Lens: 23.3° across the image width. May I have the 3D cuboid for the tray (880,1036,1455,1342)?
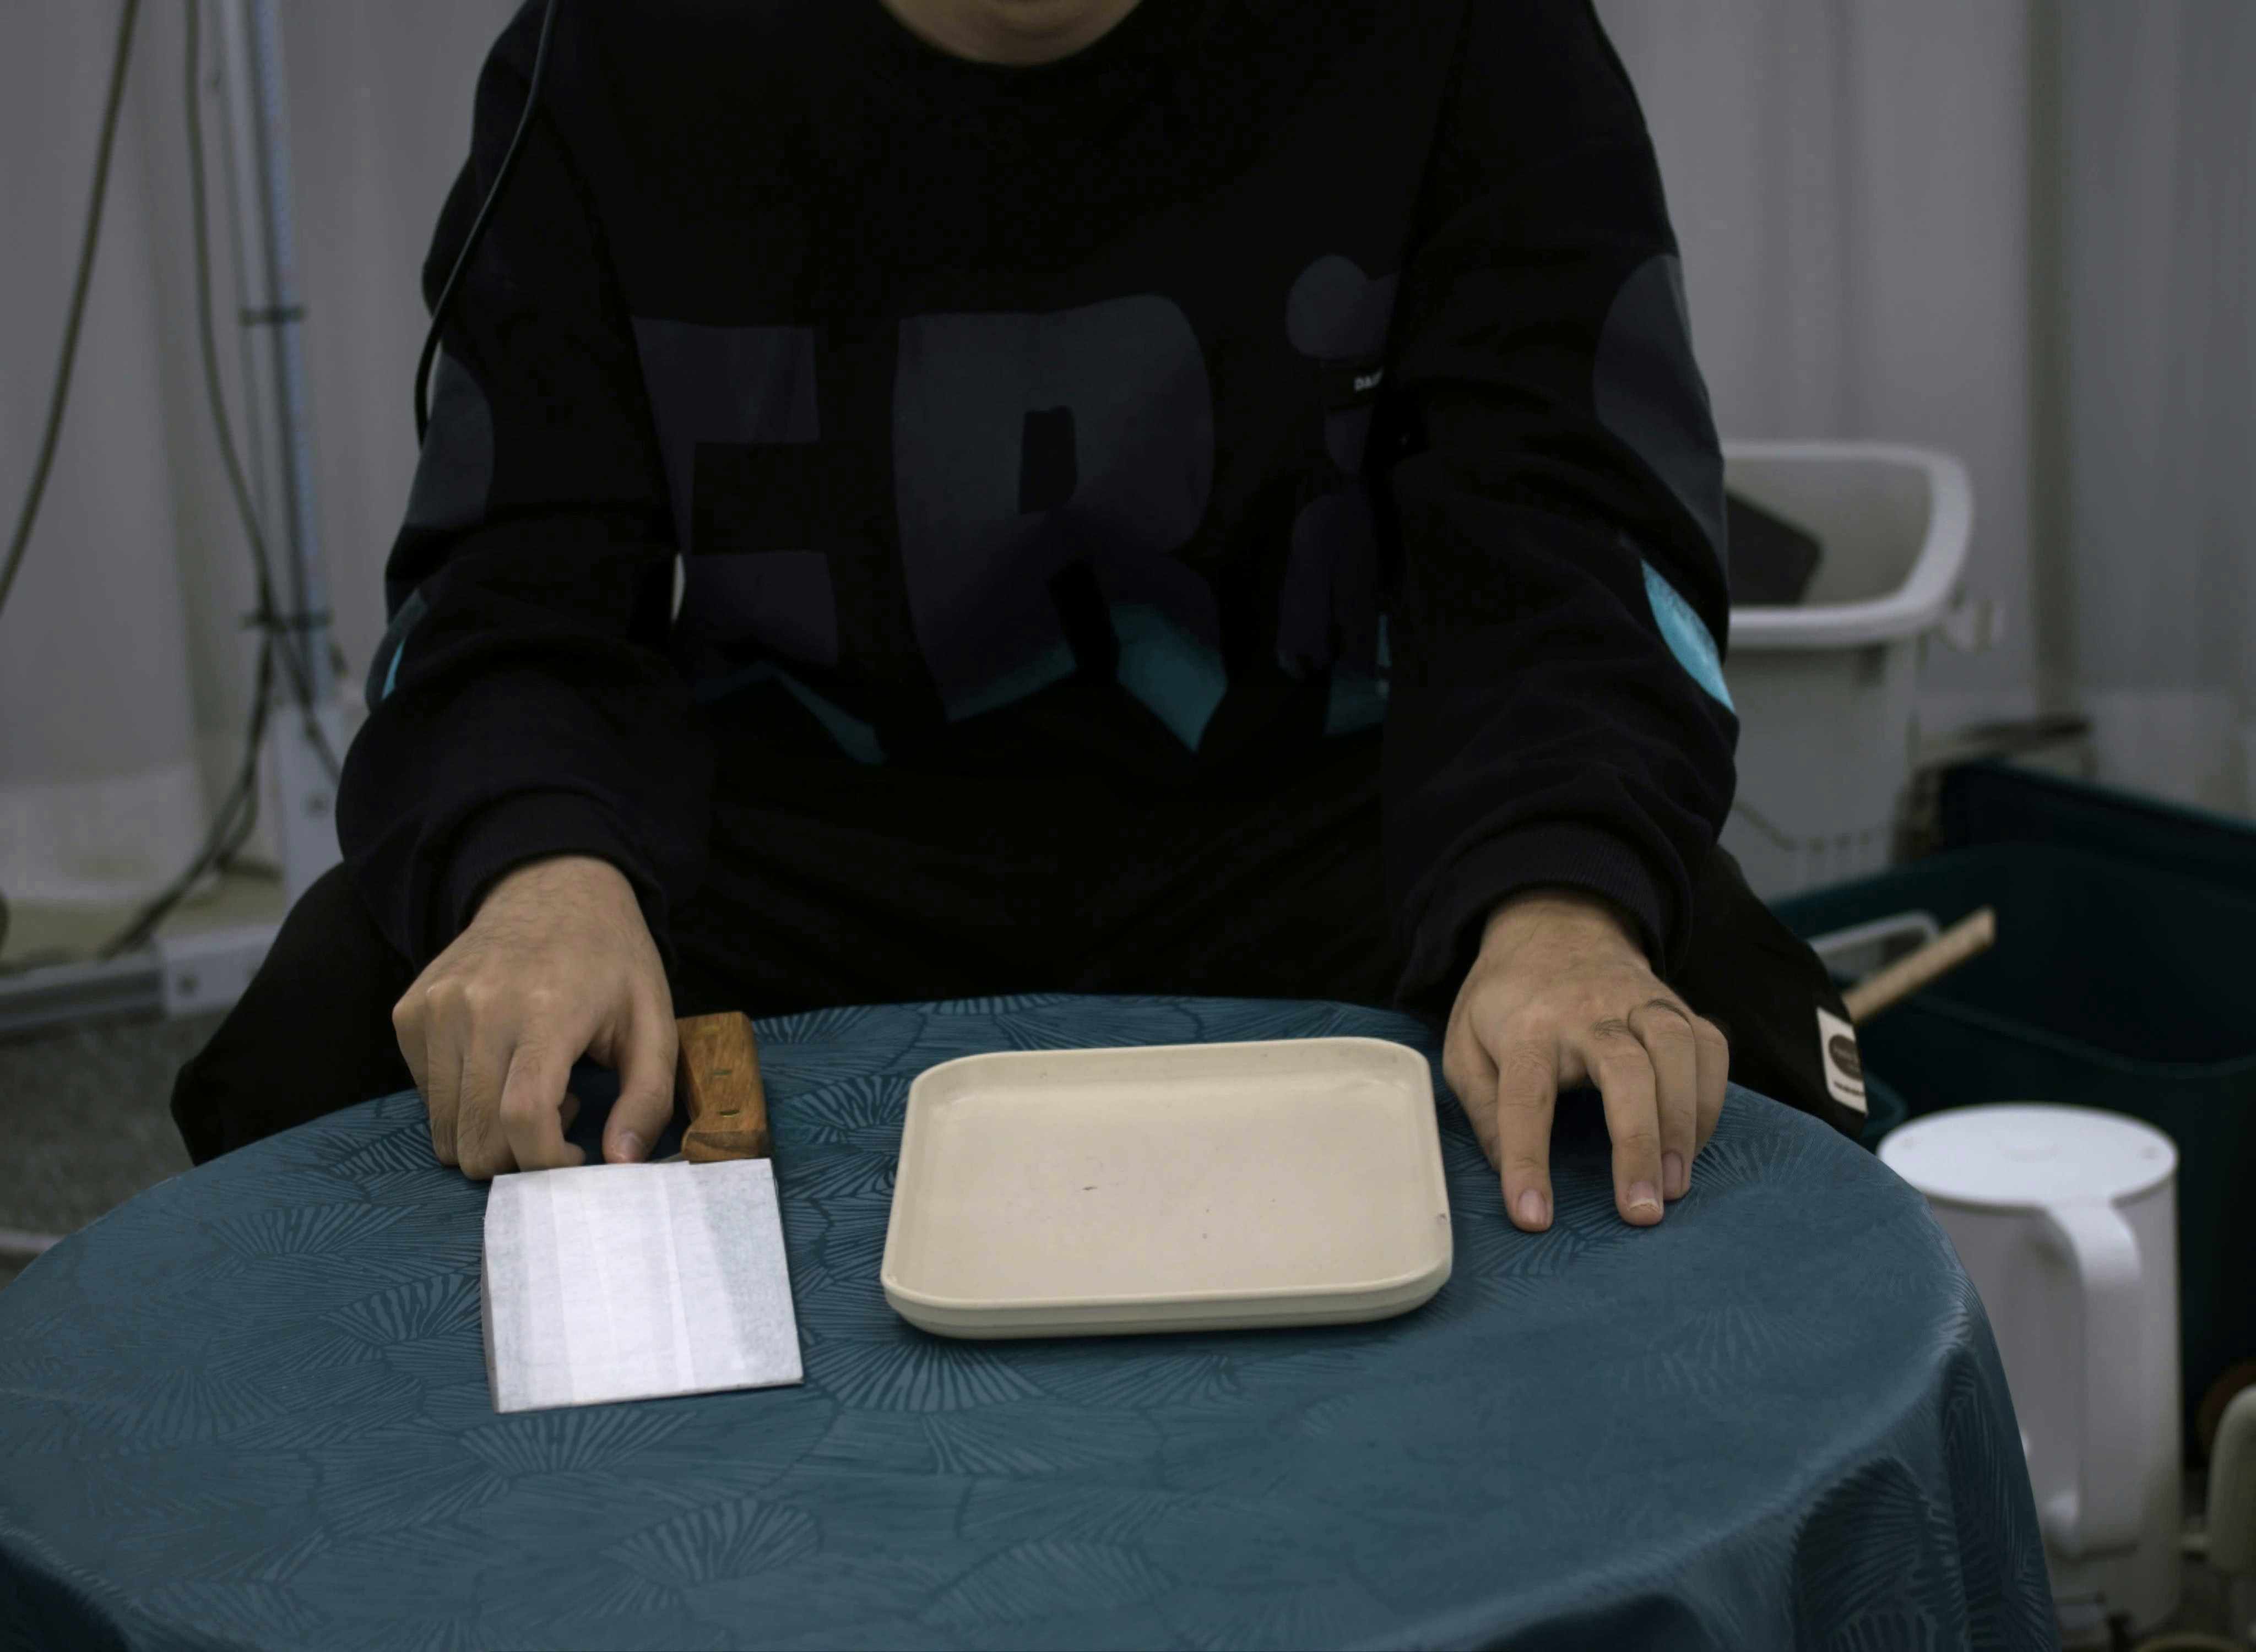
[{"bbox_3d":[0.012,0.111,1.690,0.171,0.017,0.241,-3,15,2],"label":"tray"}]

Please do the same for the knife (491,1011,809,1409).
[{"bbox_3d":[-0.152,0.118,1.703,0.092,0.021,0.308,-6,18,-5],"label":"knife"}]
